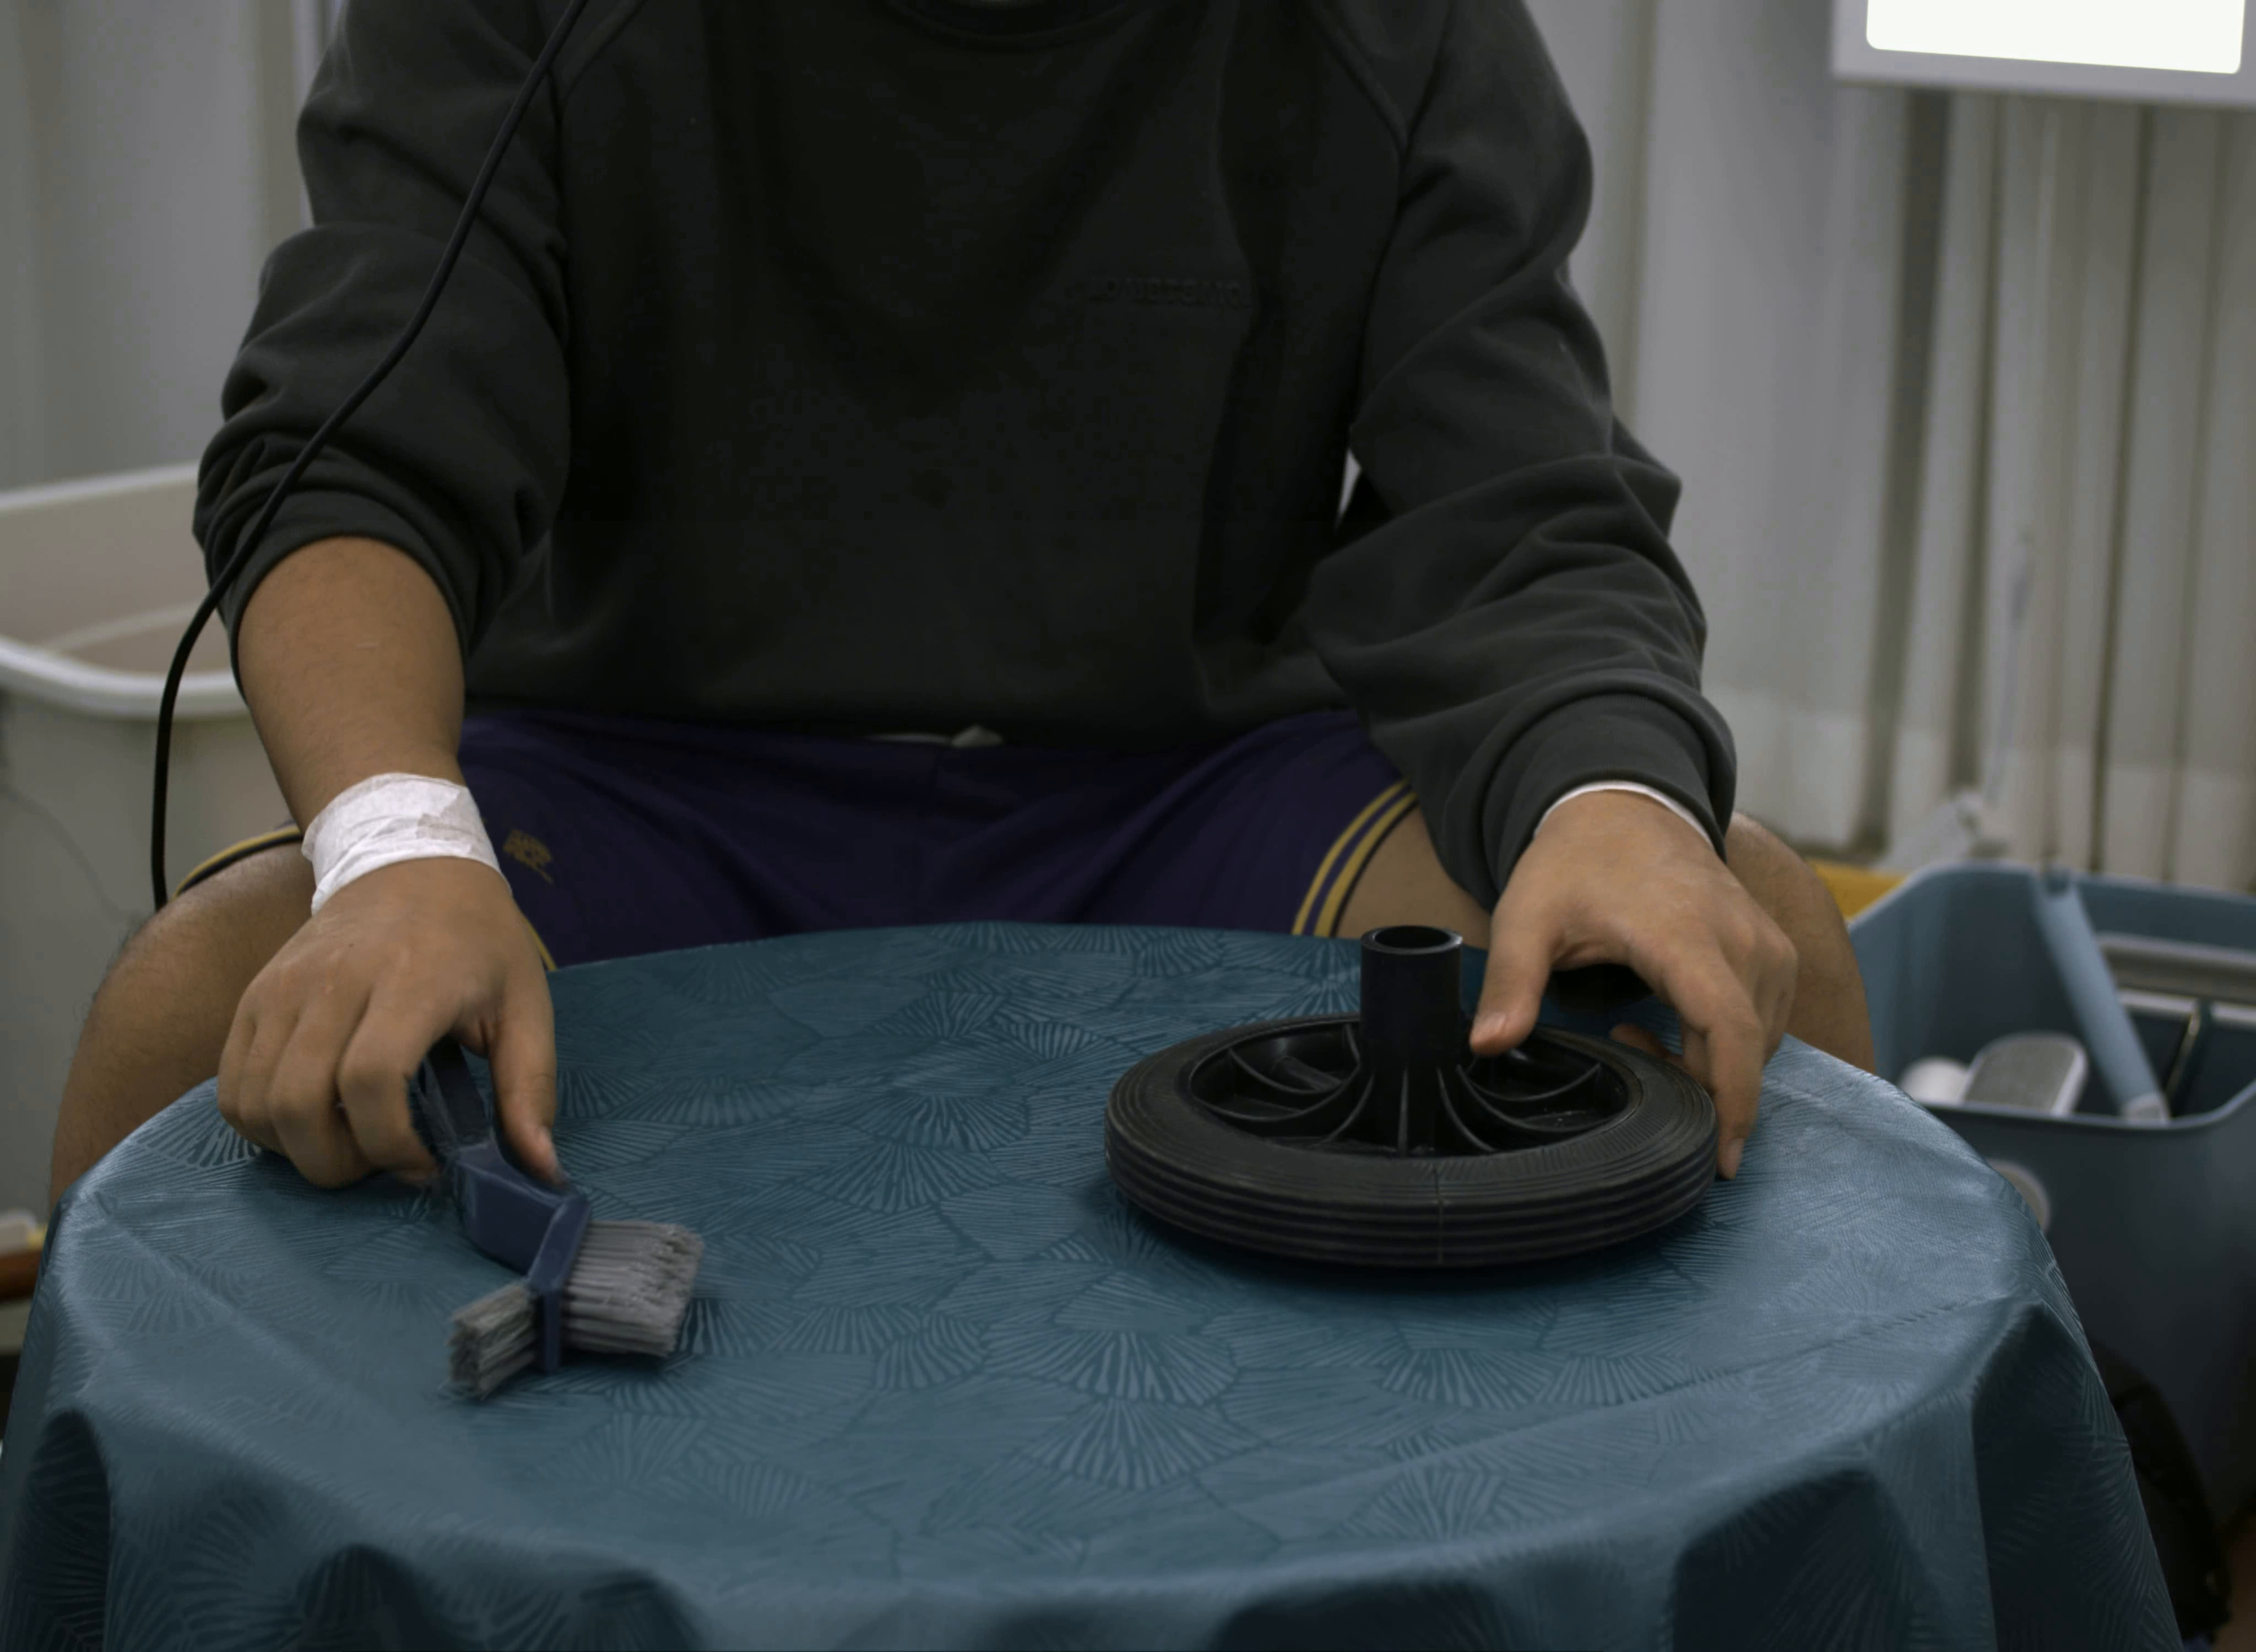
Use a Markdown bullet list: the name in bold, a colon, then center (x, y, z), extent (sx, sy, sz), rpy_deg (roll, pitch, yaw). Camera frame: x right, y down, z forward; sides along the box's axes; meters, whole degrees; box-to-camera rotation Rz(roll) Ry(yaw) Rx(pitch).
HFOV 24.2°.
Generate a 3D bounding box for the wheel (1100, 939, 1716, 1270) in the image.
- **wheel**: center (0.086, 0.076, 1.612), extent (0.187, 0.080, 0.188), rpy_deg (9, 18, 31)

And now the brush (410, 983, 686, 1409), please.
- **brush**: center (-0.200, 0.106, 1.577), extent (0.096, 0.034, 0.270), rpy_deg (-6, 18, -21)
